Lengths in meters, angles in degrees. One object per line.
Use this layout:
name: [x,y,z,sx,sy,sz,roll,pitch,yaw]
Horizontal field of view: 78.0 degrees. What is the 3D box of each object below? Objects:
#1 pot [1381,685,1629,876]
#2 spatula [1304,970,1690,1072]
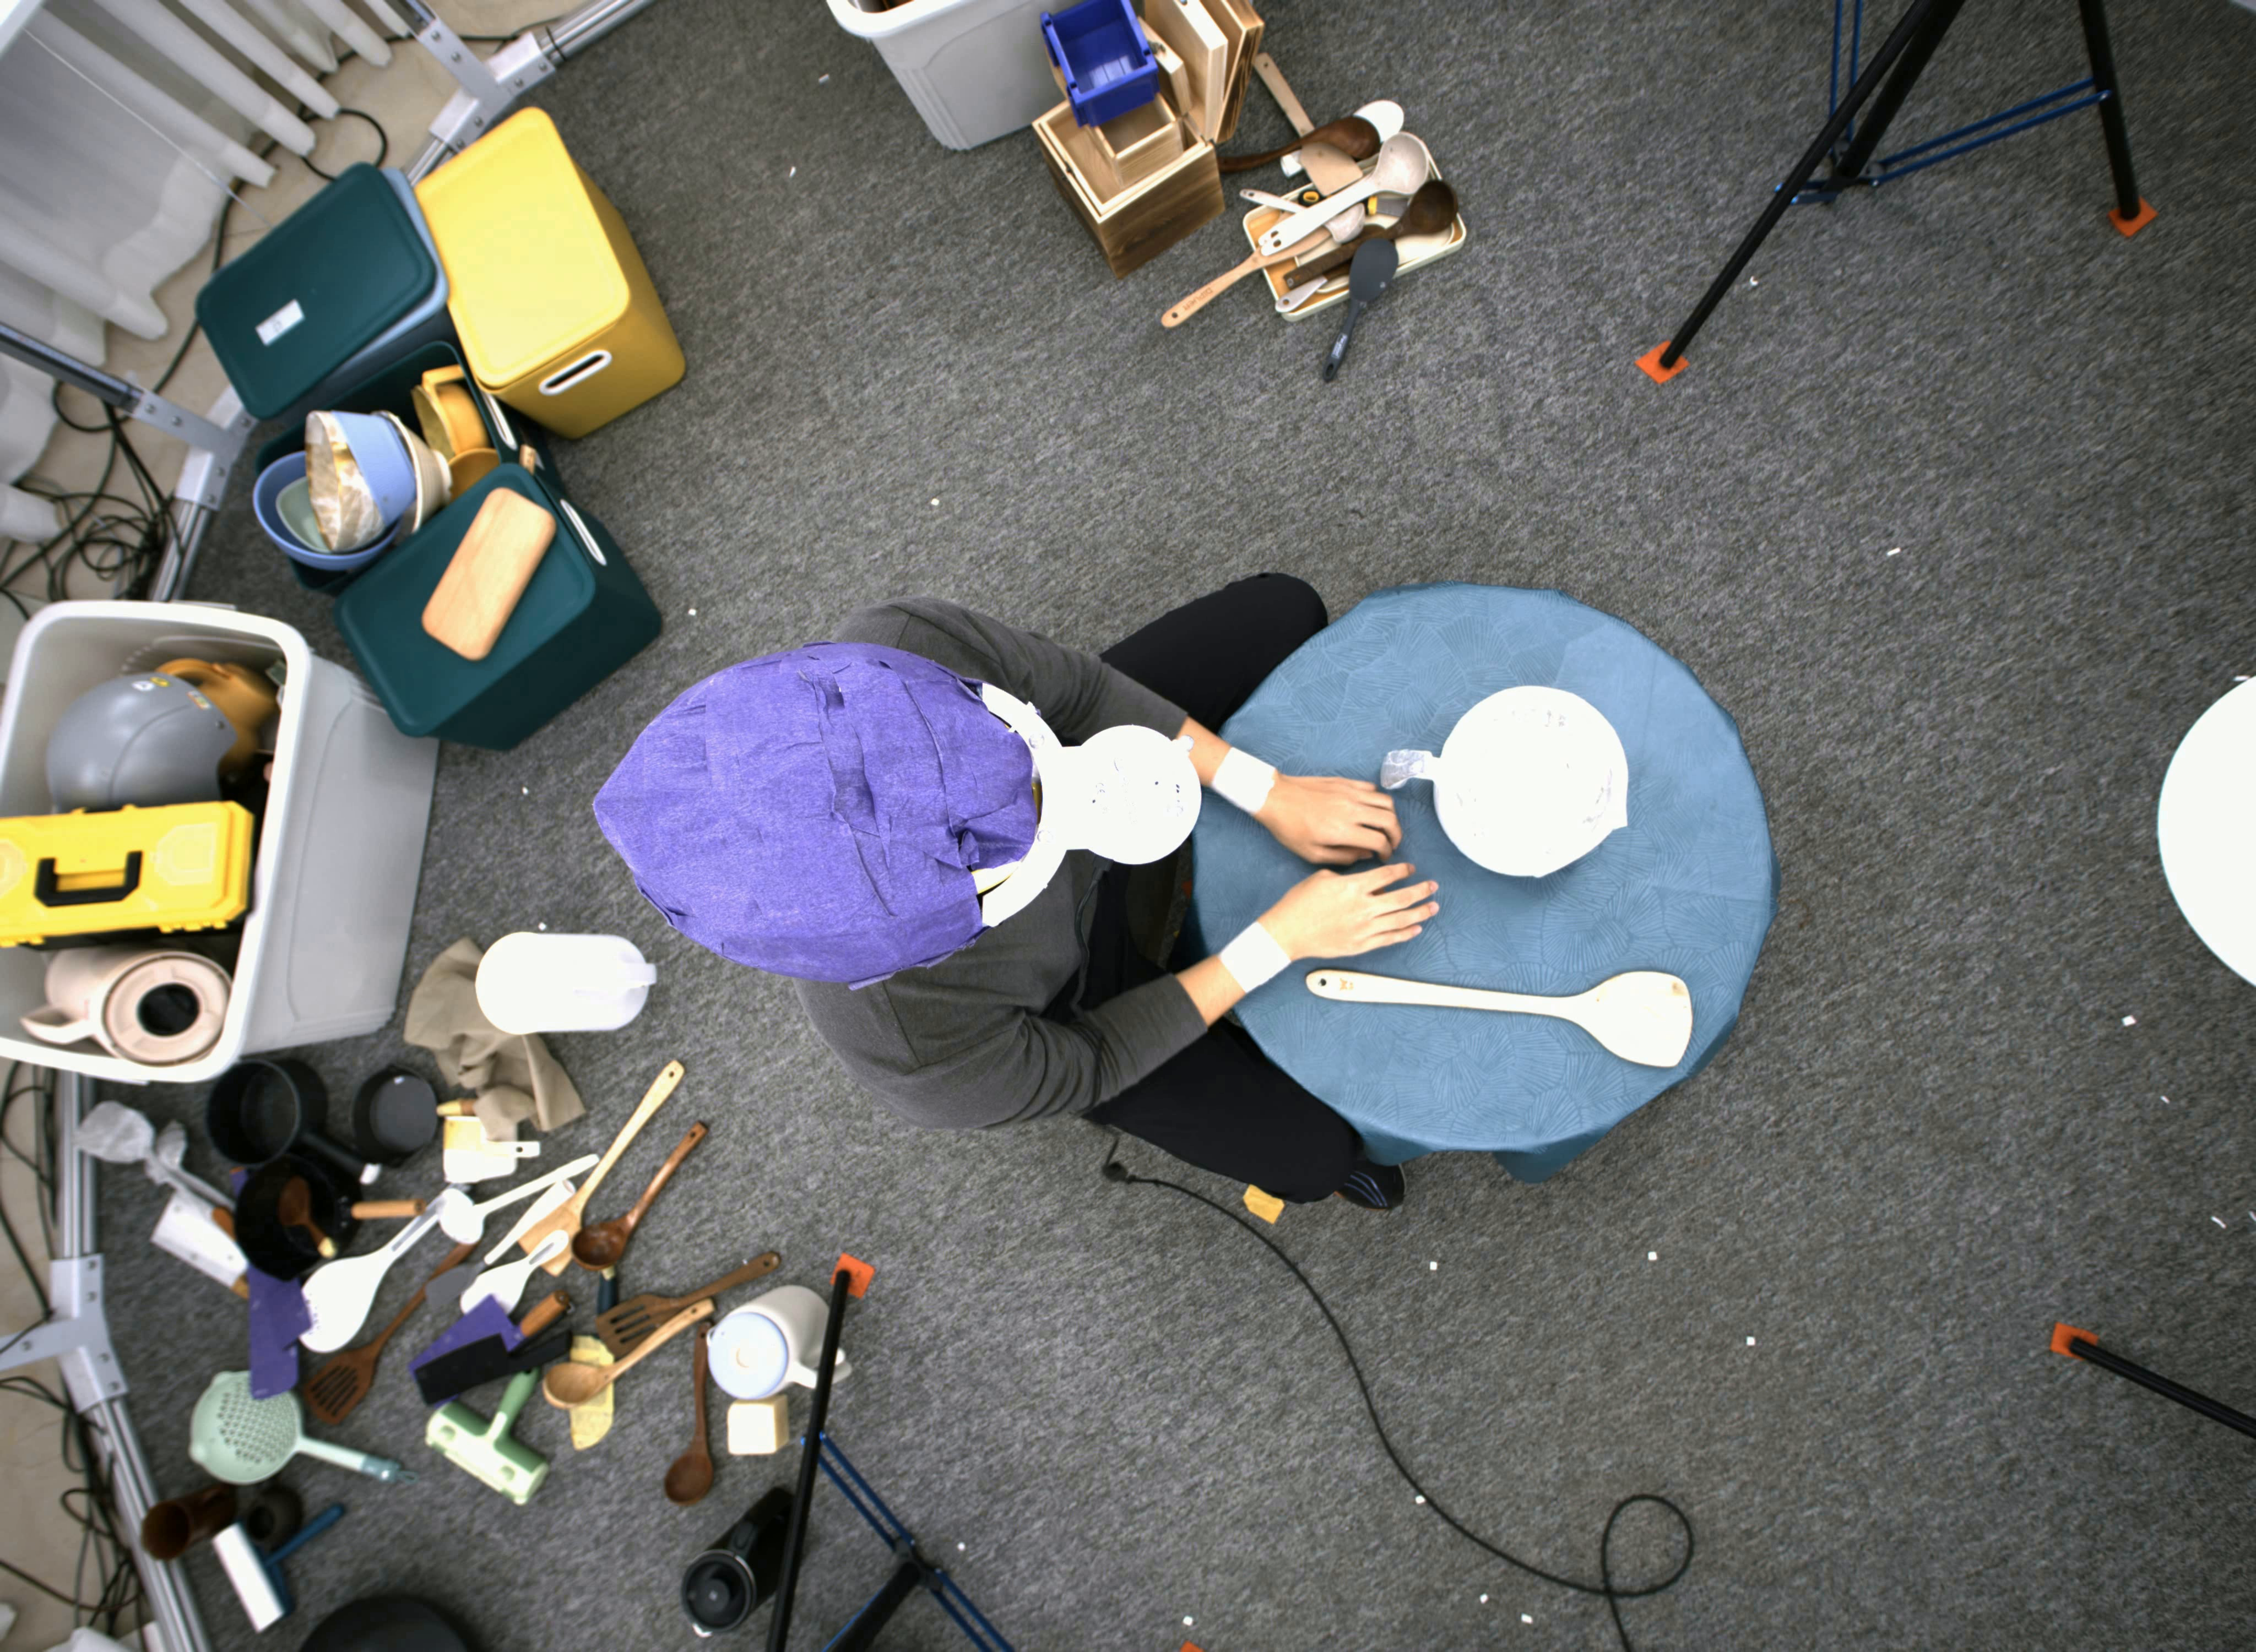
pot: [0.371,-0.046,1.378,0.234,0.137,0.178,8,87,11]
spatula: [0.377,0.184,1.425,0.392,0.018,0.095,5,86,11]
